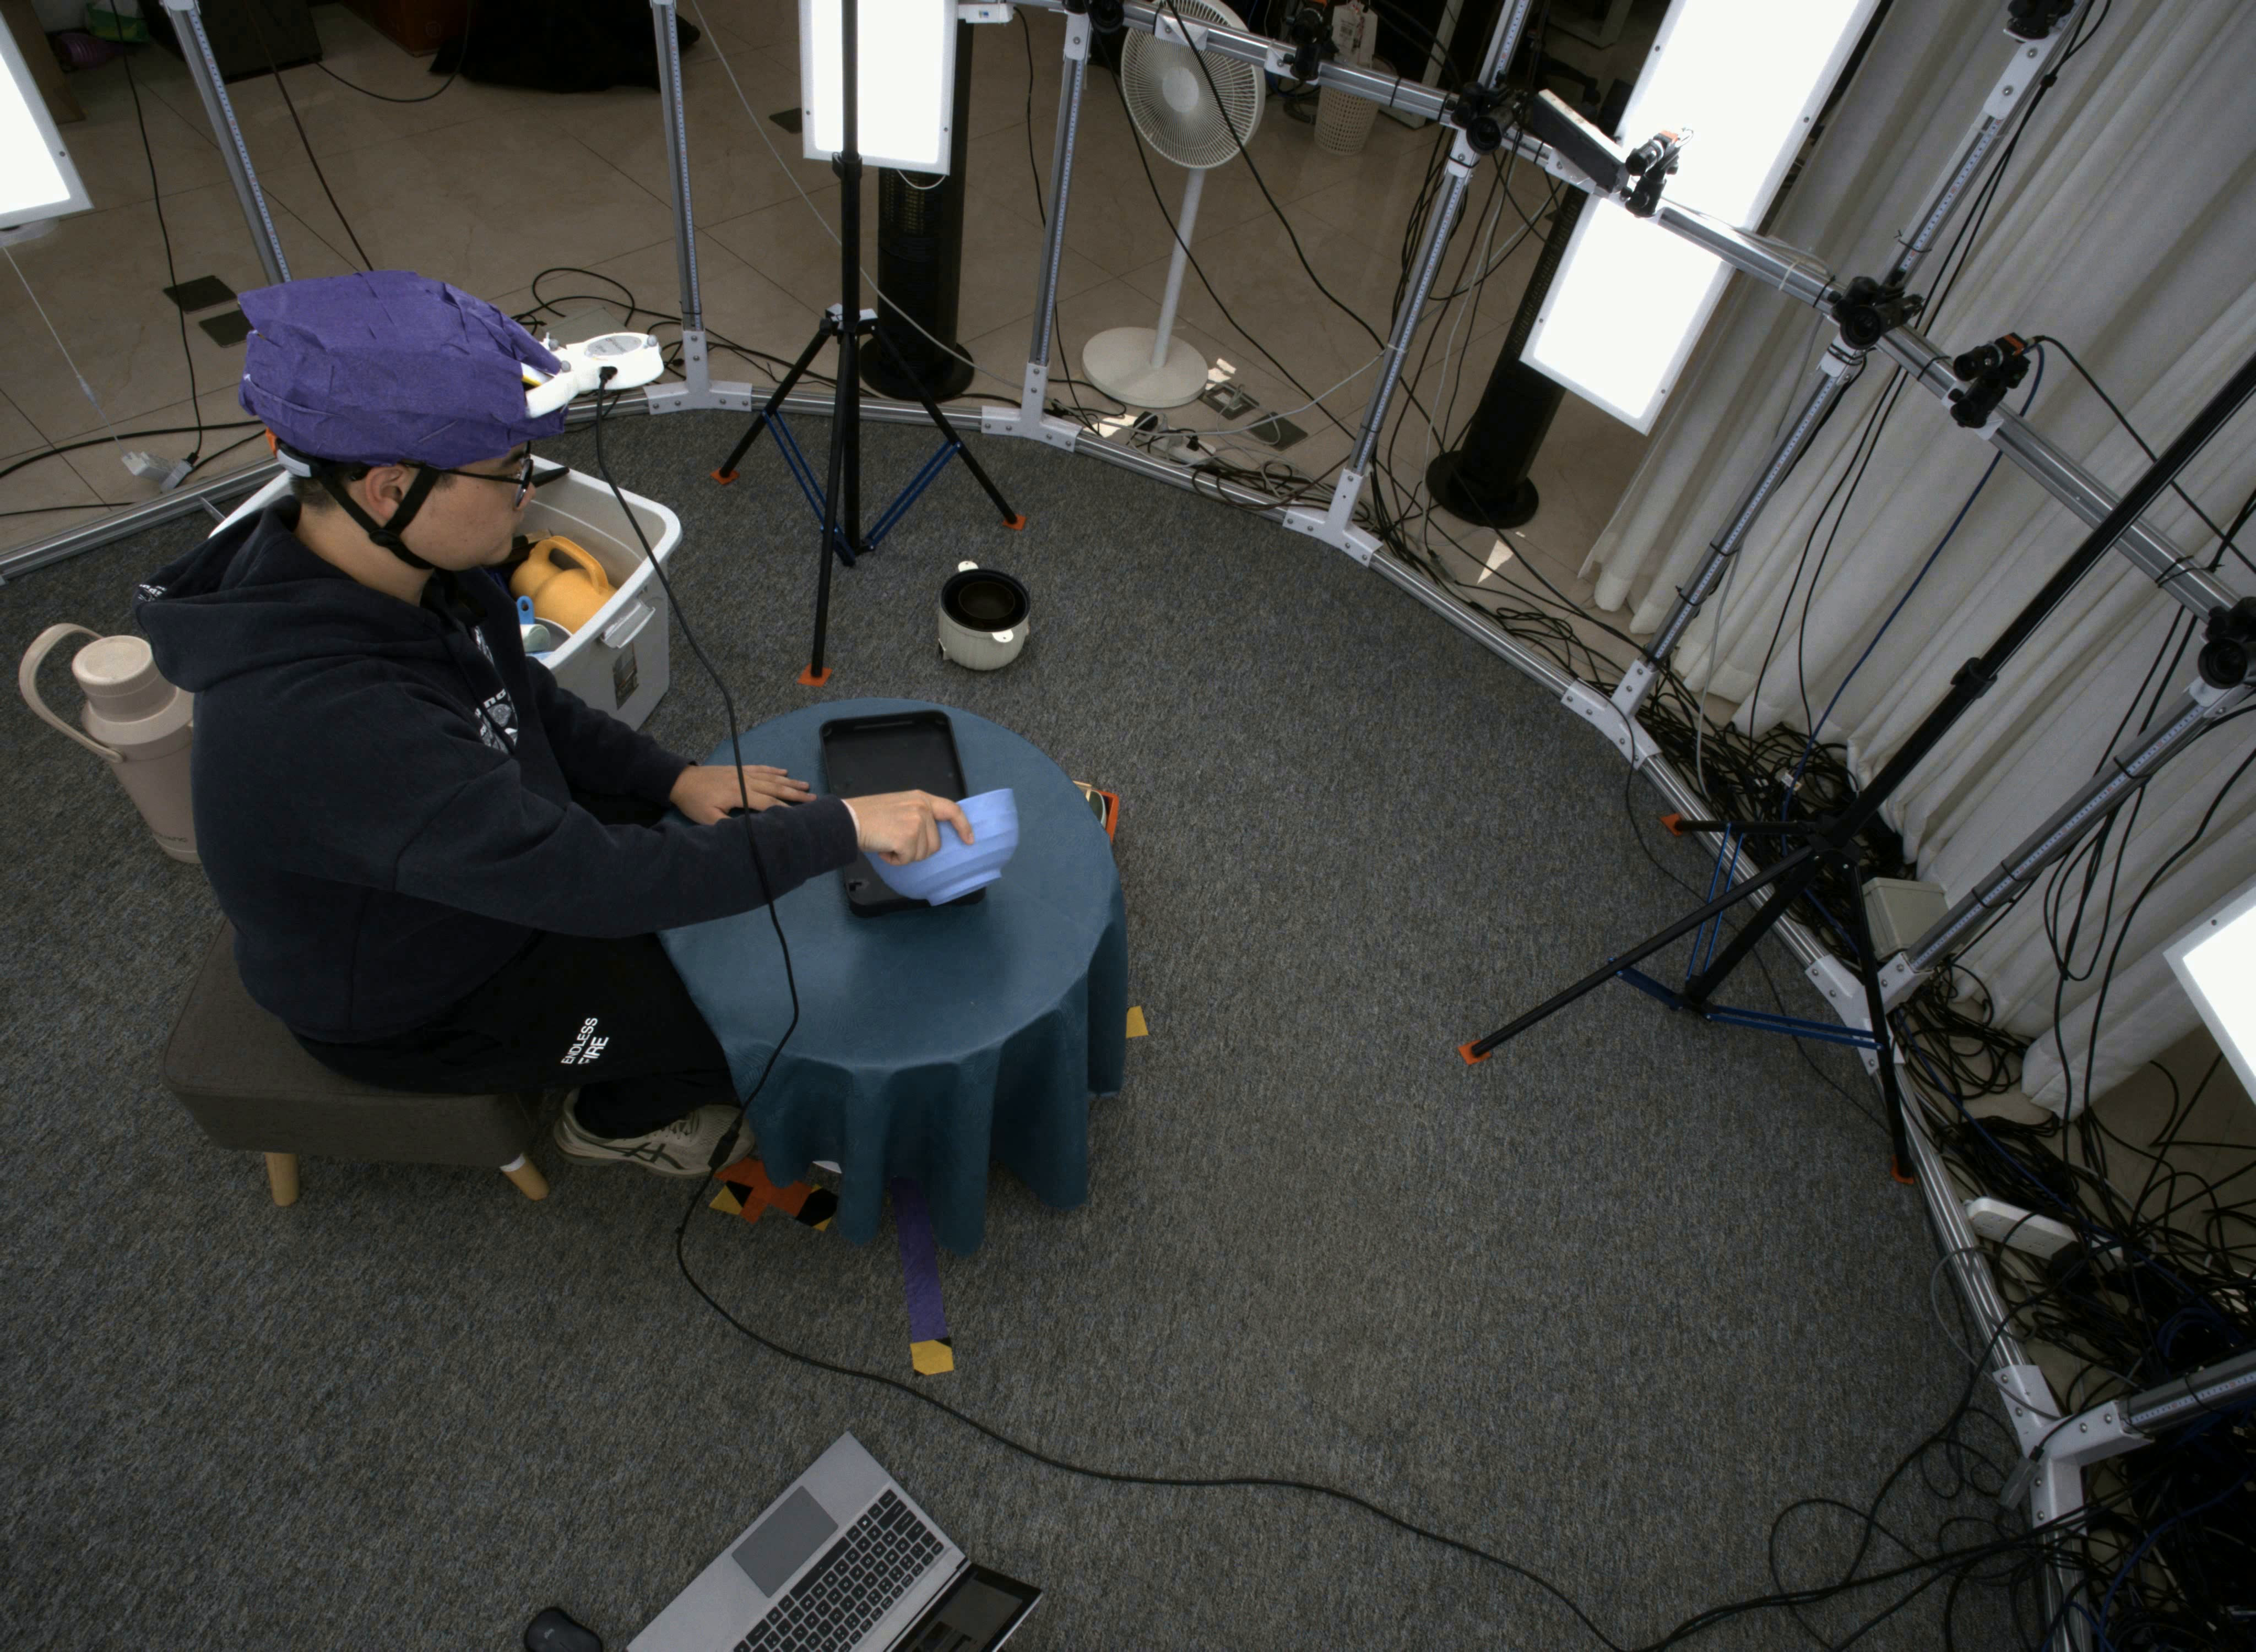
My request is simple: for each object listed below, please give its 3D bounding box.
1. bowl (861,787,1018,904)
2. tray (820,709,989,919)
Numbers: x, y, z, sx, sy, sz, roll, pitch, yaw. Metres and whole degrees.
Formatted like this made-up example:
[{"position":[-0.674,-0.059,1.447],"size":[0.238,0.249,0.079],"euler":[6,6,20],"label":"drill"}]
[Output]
[{"position":[-0.213,0.032,1.567],"size":[0.197,0.194,0.096],"euler":[-19,87,-25],"label":"bowl"},{"position":[-0.303,-0.023,1.744],"size":[0.185,0.038,0.310],"euler":[-6,55,-18],"label":"tray"}]
